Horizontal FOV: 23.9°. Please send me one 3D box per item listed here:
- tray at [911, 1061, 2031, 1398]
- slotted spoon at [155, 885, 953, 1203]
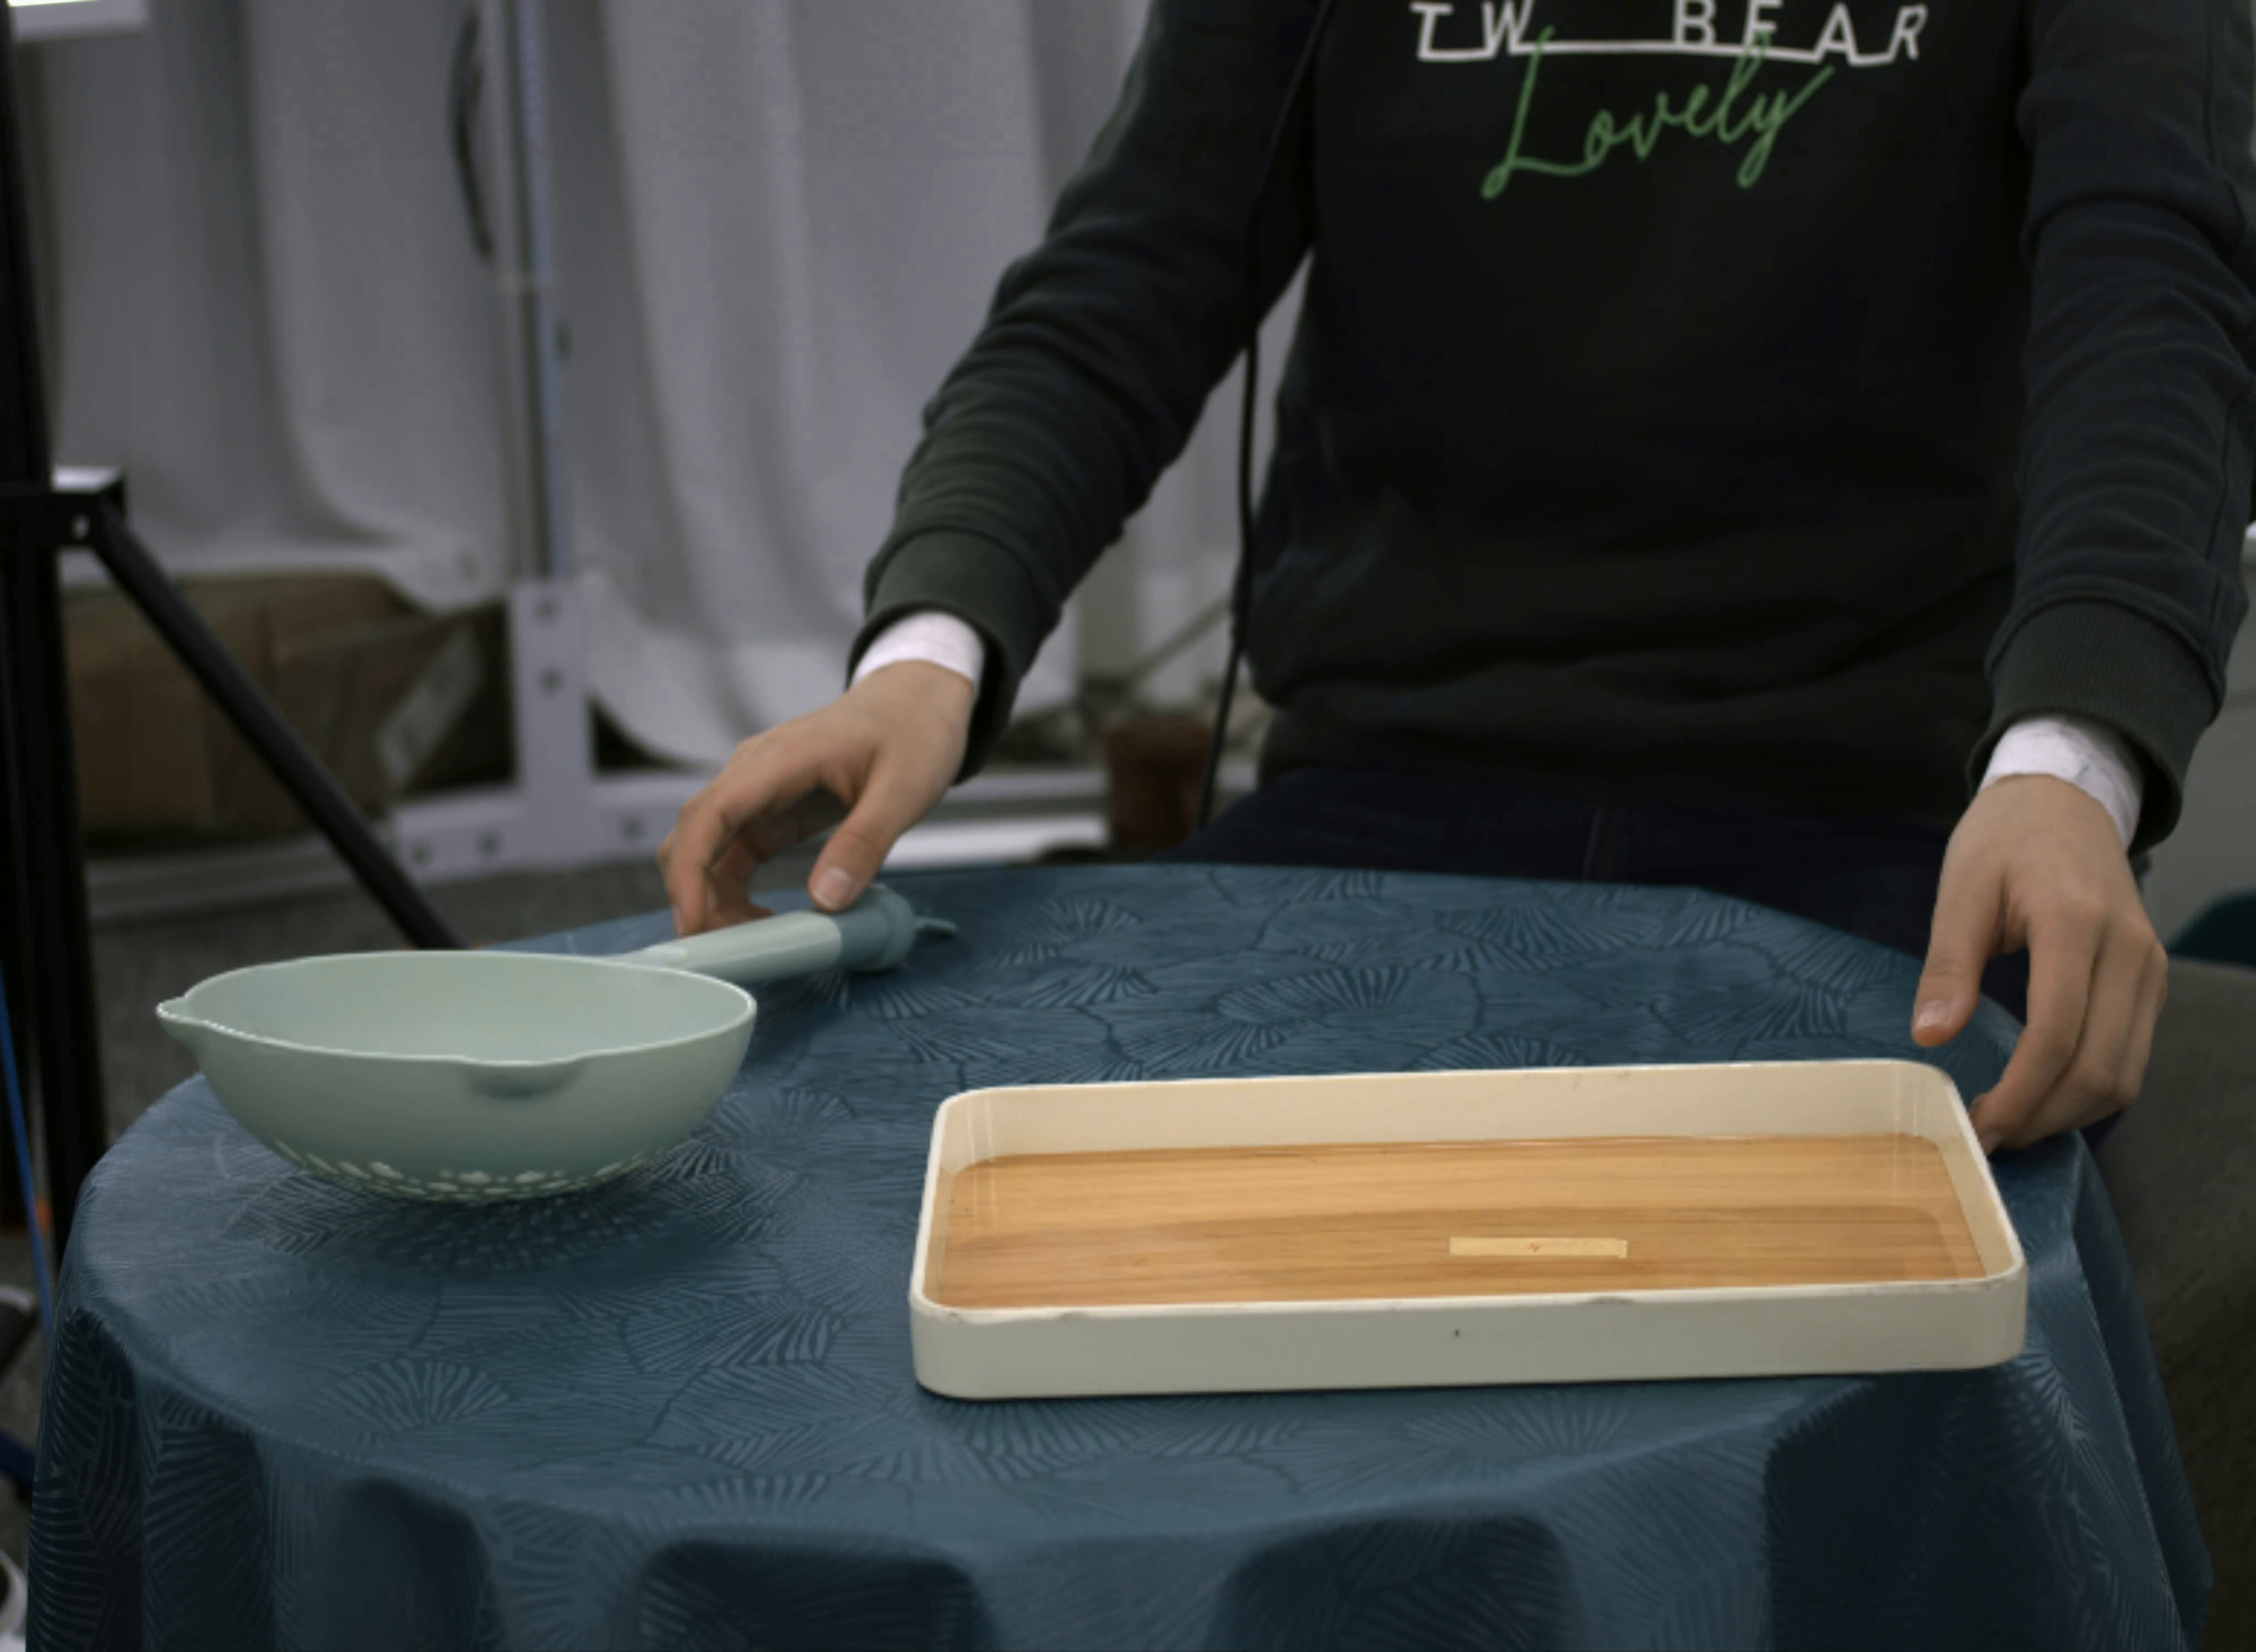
[{"bbox_3d":[0.093,0.112,1.482,0.299,0.027,0.192,-1,16,3],"label":"tray"},{"bbox_3d":[-0.149,0.052,1.662,0.172,0.075,0.353,6,18,28],"label":"slotted spoon"}]
